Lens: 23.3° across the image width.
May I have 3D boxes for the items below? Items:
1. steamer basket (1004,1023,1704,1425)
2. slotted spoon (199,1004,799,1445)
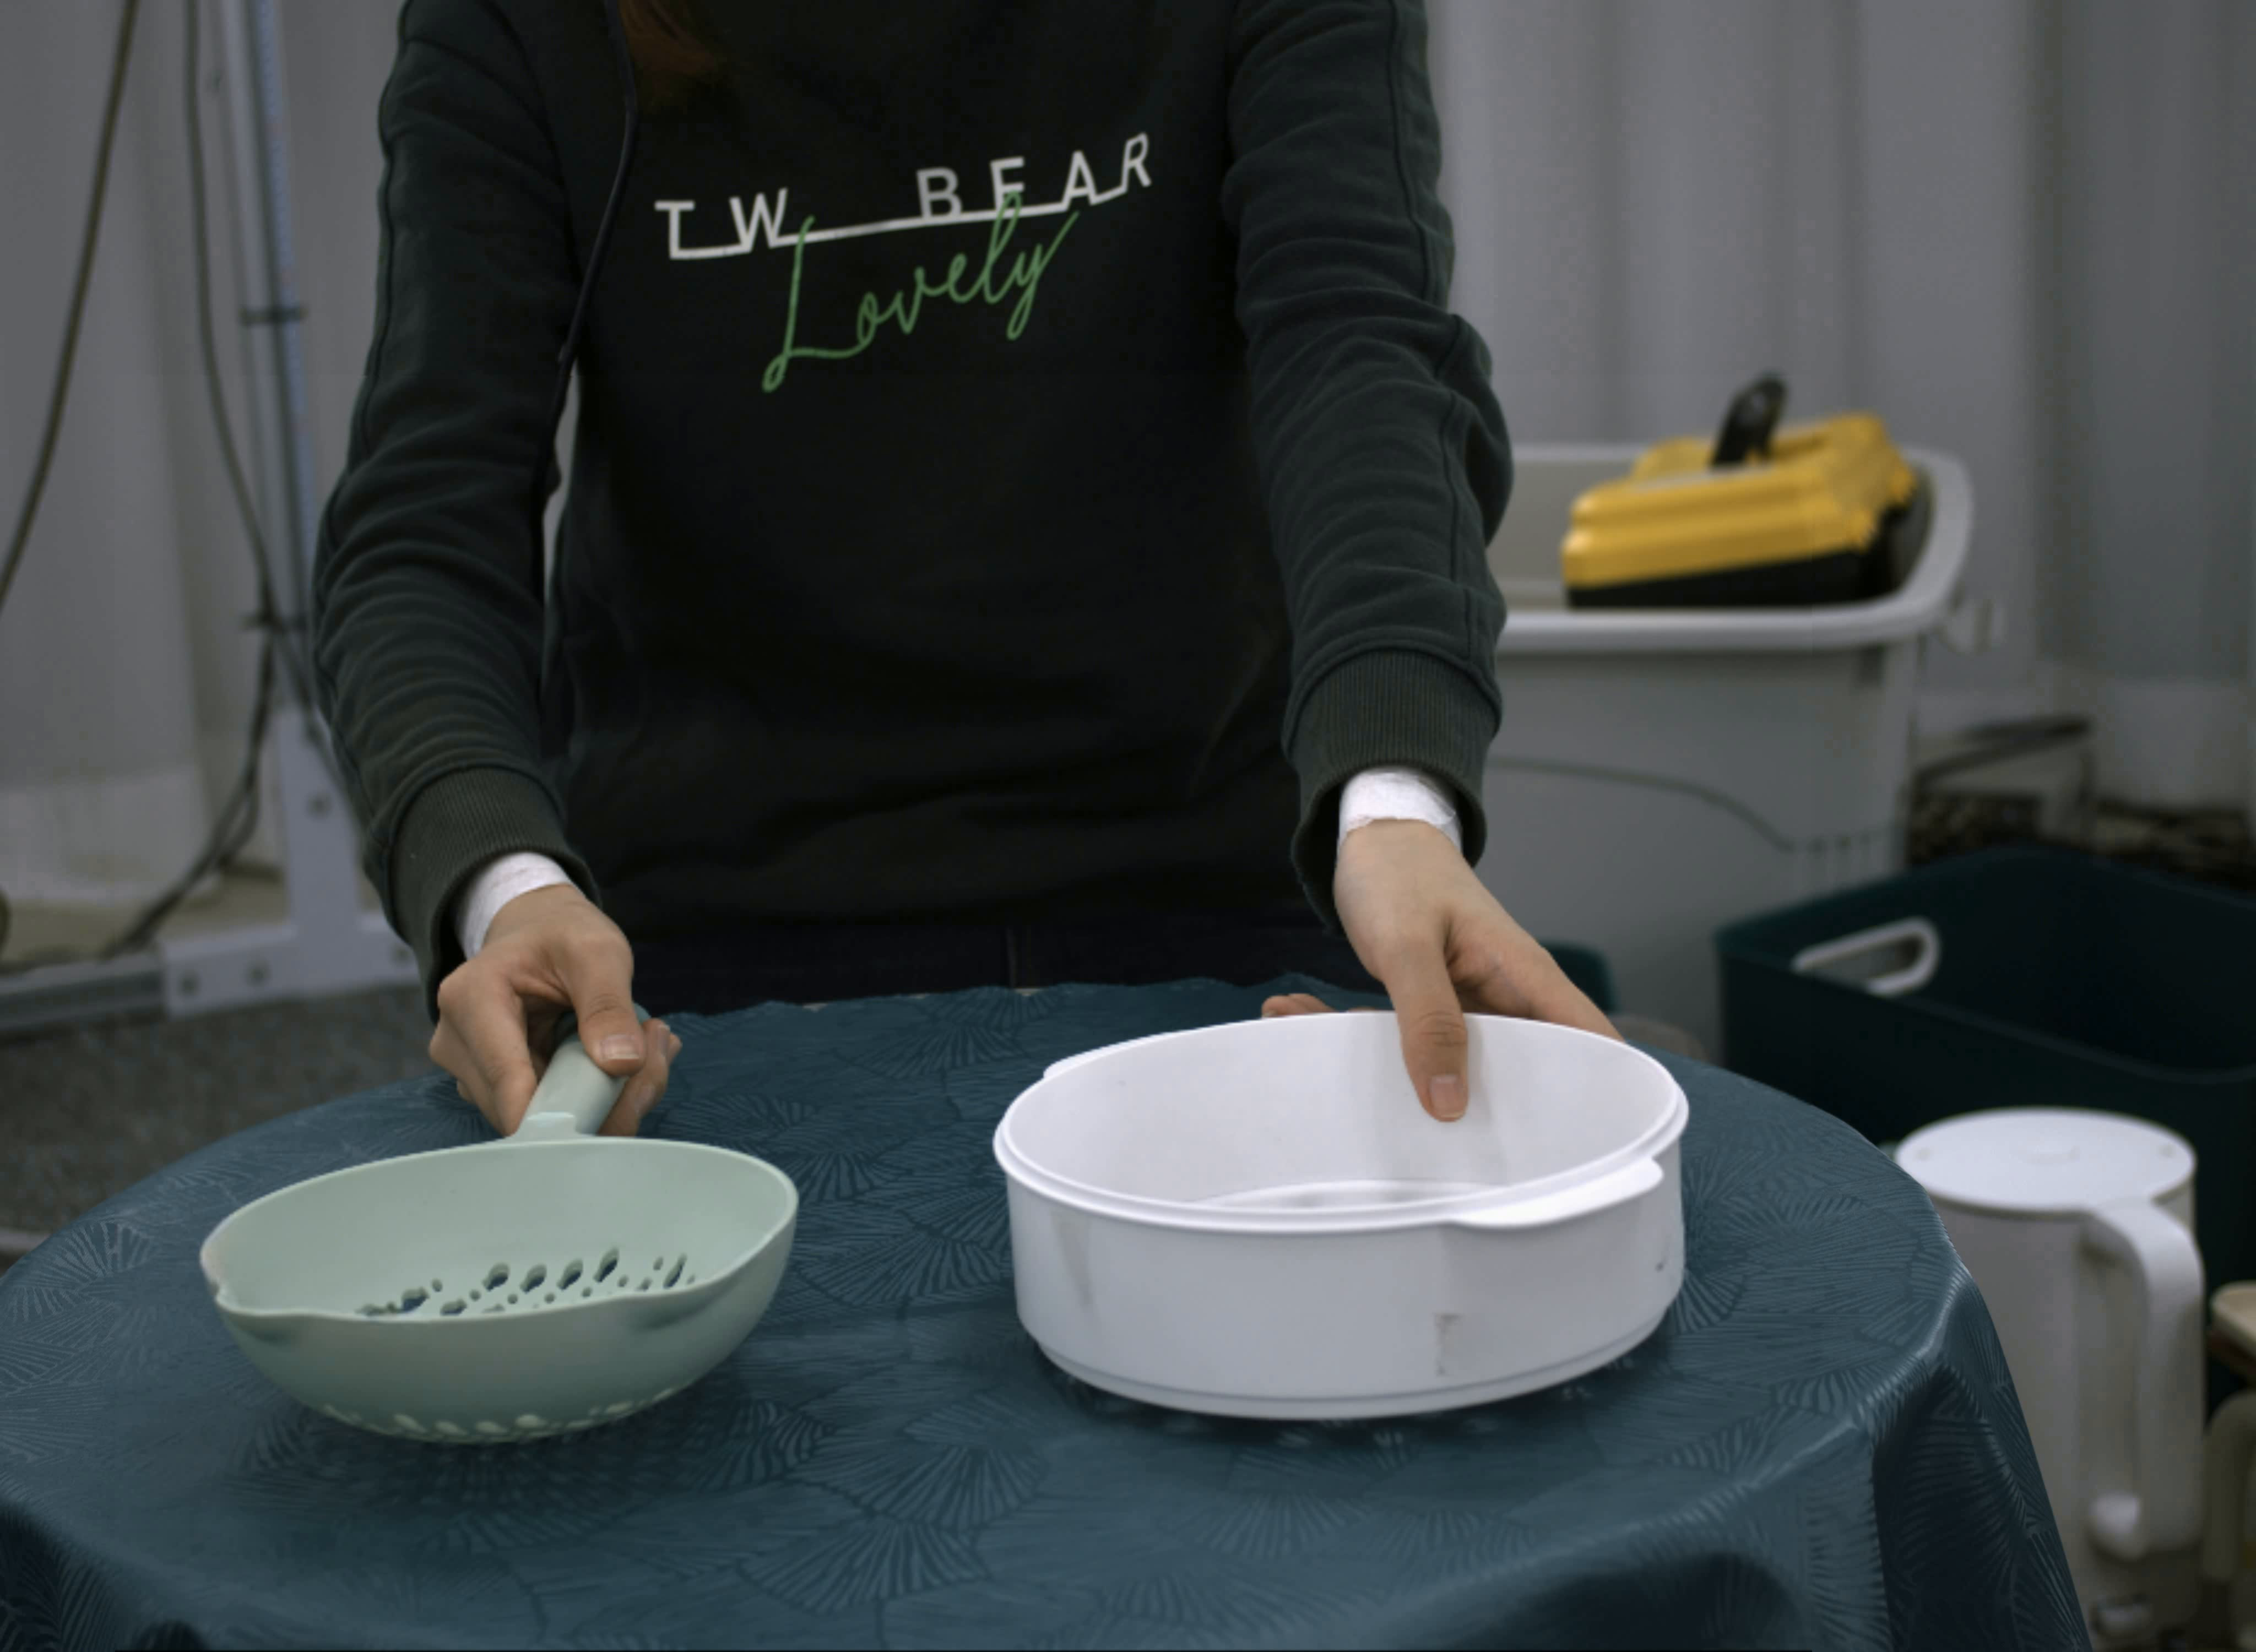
[{"bbox_3d":[0.066,0.114,1.571,0.201,0.069,0.232,-12,16,-35],"label":"steamer basket"},{"bbox_3d":[-0.172,0.103,1.635,0.169,0.075,0.362,-3,20,2],"label":"slotted spoon"}]
